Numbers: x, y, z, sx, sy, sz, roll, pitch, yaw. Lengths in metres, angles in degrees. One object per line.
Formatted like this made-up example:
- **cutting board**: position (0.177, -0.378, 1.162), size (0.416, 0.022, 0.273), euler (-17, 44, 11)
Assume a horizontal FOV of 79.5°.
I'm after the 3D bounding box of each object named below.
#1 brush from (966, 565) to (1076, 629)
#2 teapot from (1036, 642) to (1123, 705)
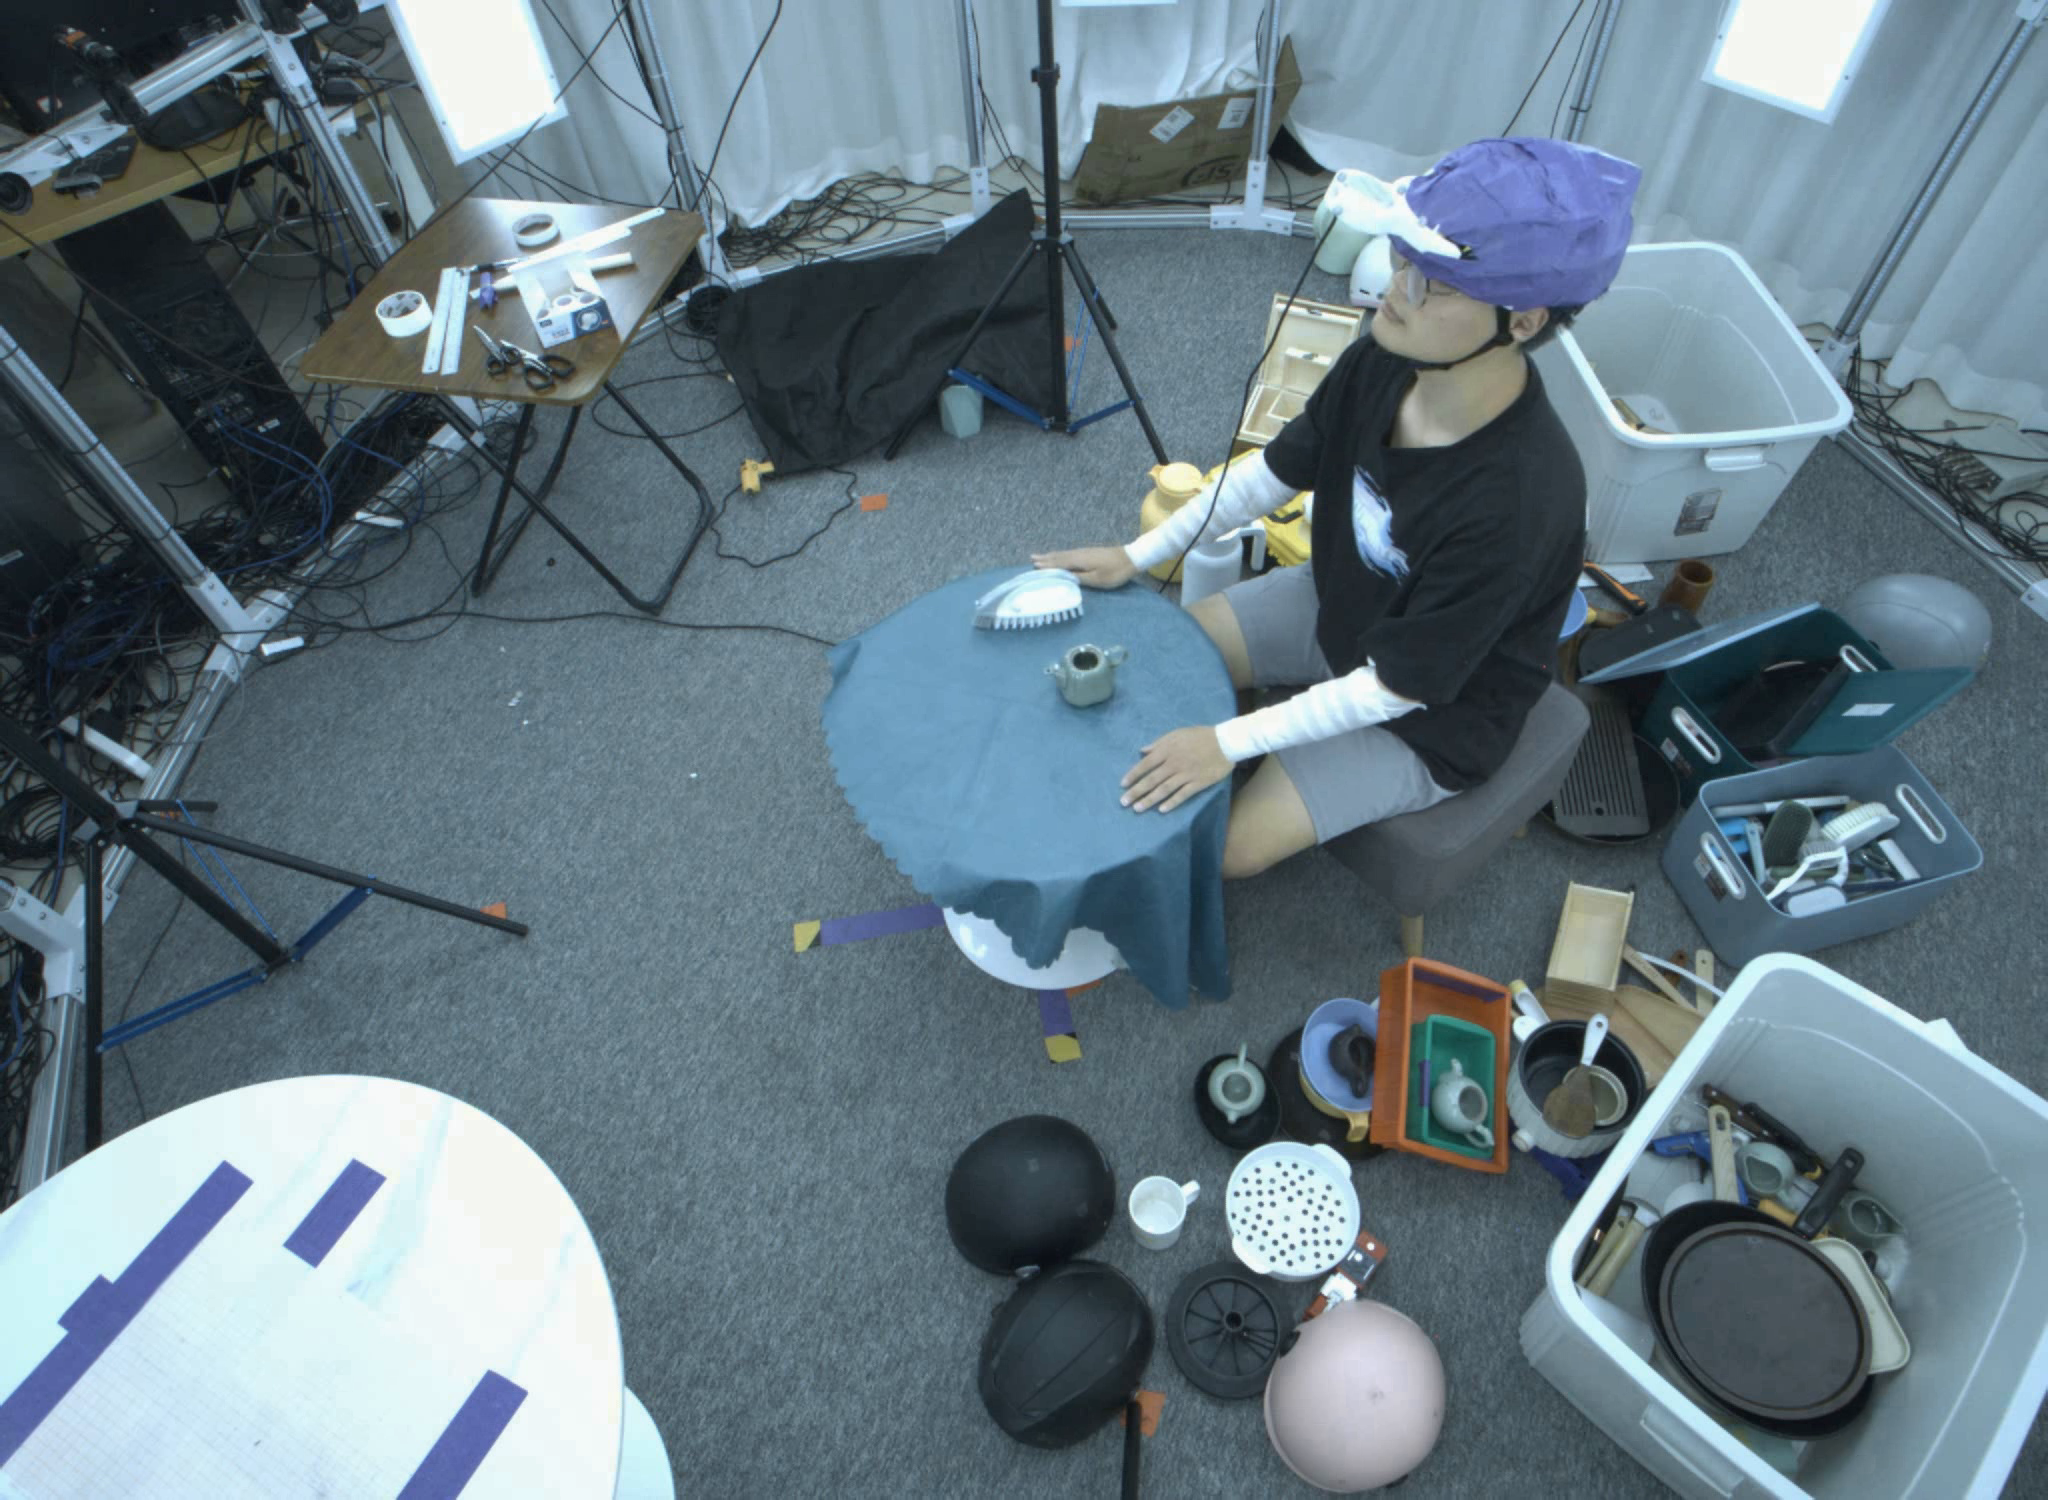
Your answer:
- **brush**: position (-0.009, -0.238, 1.893), size (0.176, 0.095, 0.060), euler (-13, 52, -5)
- **teapot**: position (0.081, -0.116, 1.814), size (0.133, 0.076, 0.078), euler (-14, 57, -9)
